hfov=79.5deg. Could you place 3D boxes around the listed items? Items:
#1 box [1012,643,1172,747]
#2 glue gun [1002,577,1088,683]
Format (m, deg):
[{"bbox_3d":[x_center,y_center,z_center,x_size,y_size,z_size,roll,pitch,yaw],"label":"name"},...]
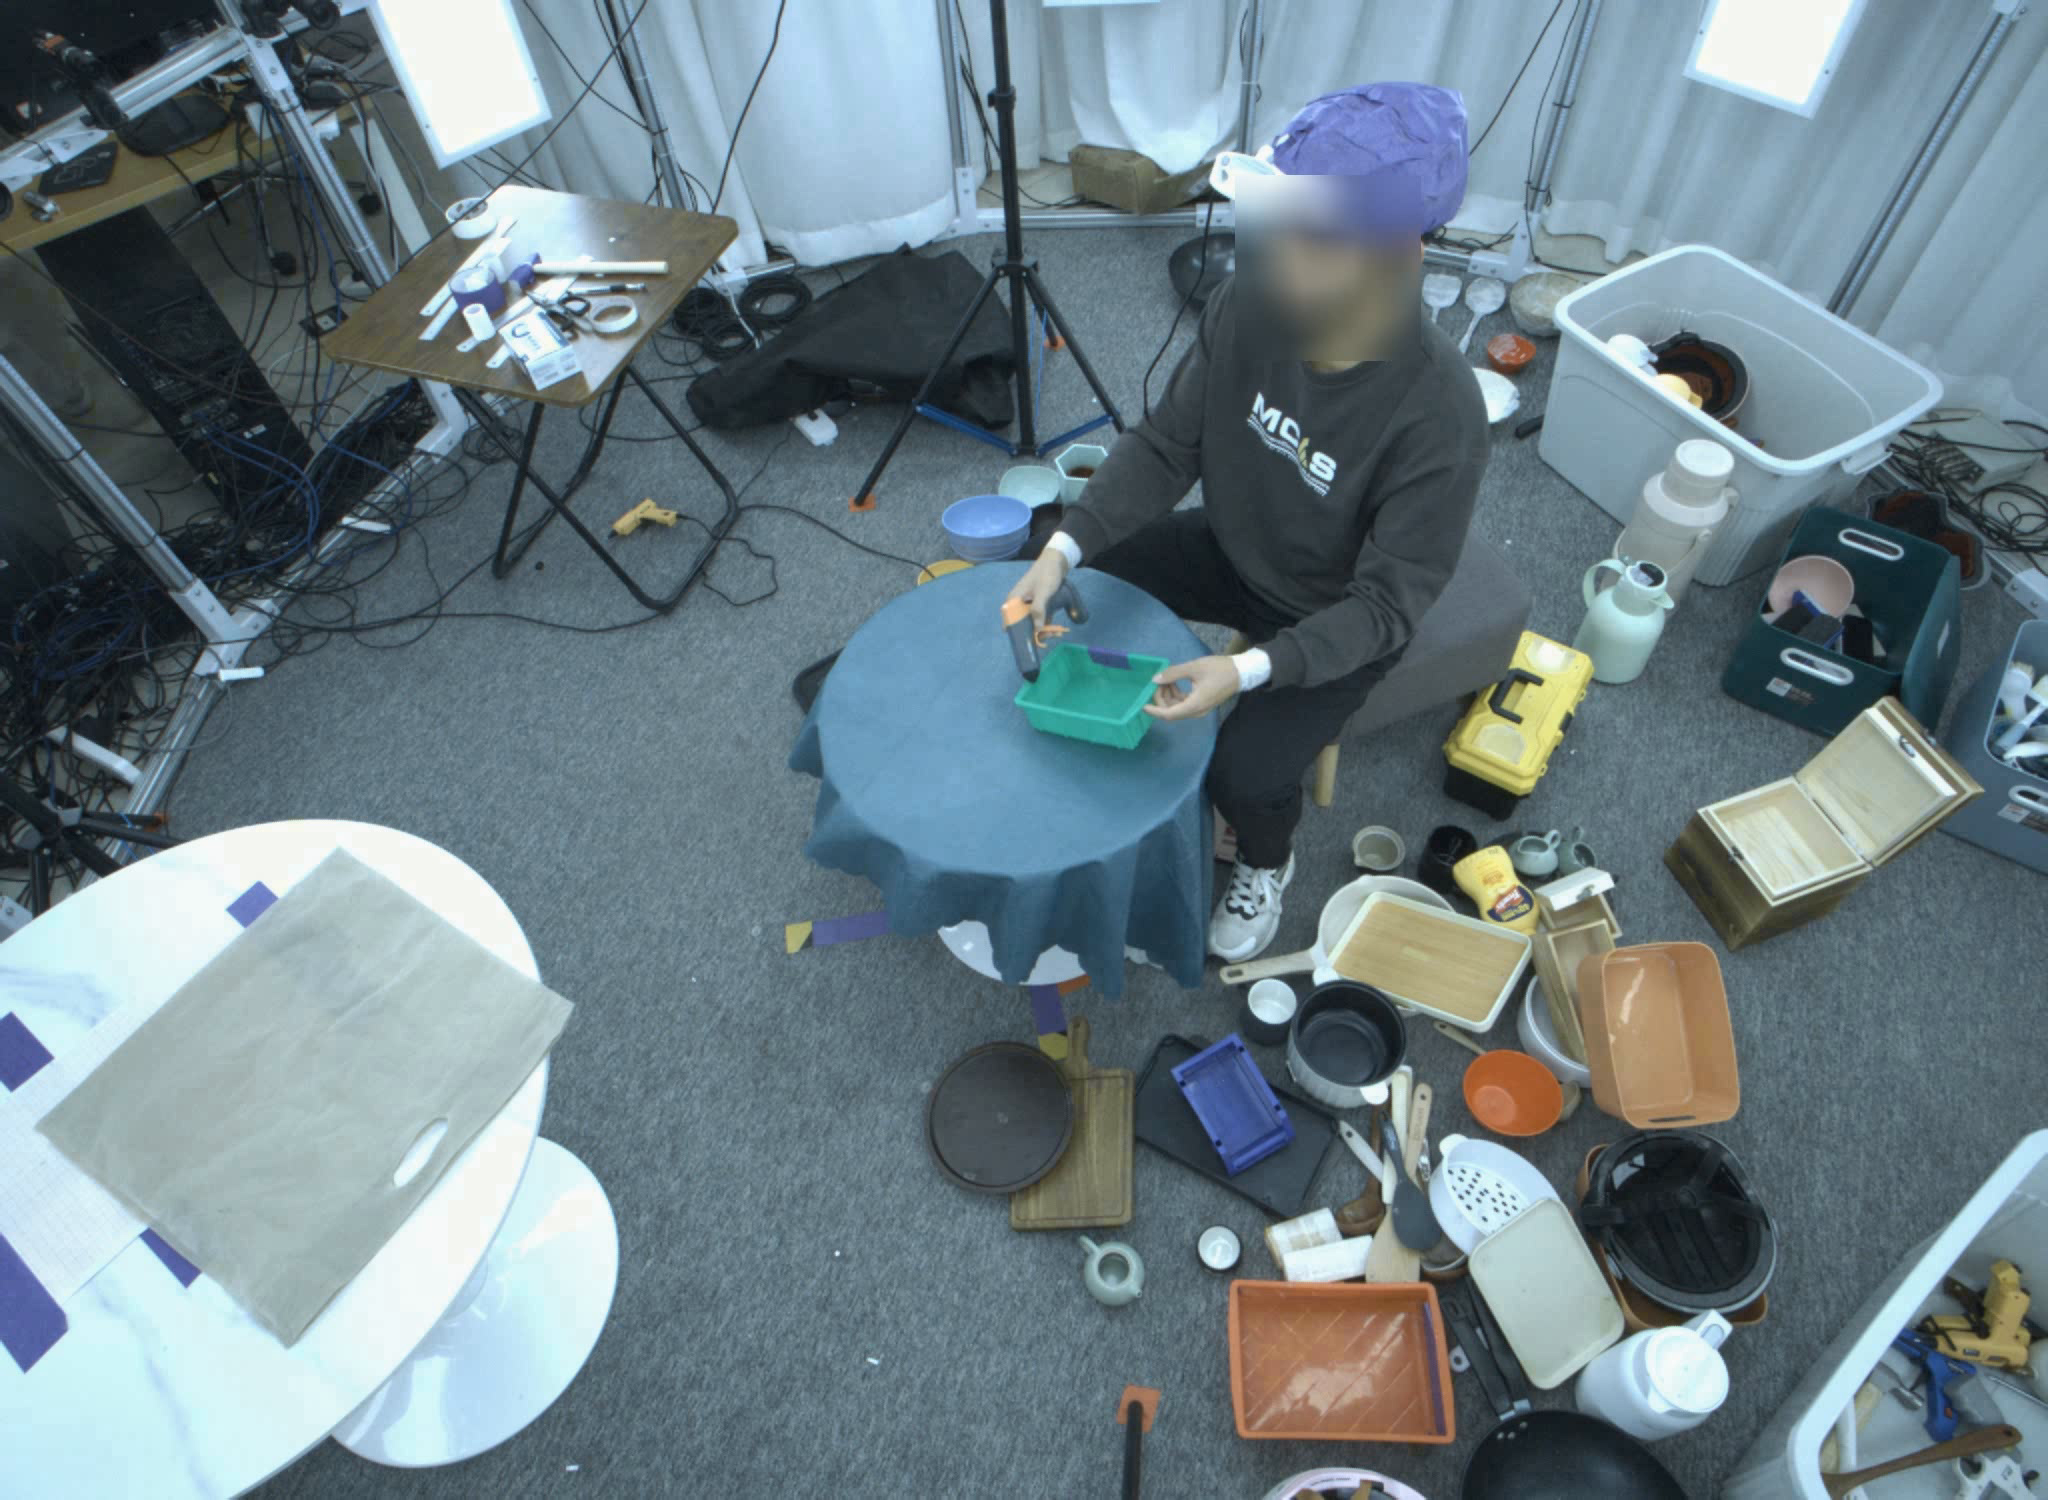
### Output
[{"bbox_3d":[0.102,-0.077,1.765,0.206,0.066,0.139,11,50,37],"label":"box"},{"bbox_3d":[0.028,-0.179,1.785,0.141,0.120,0.040,-41,29,-27],"label":"glue gun"}]
